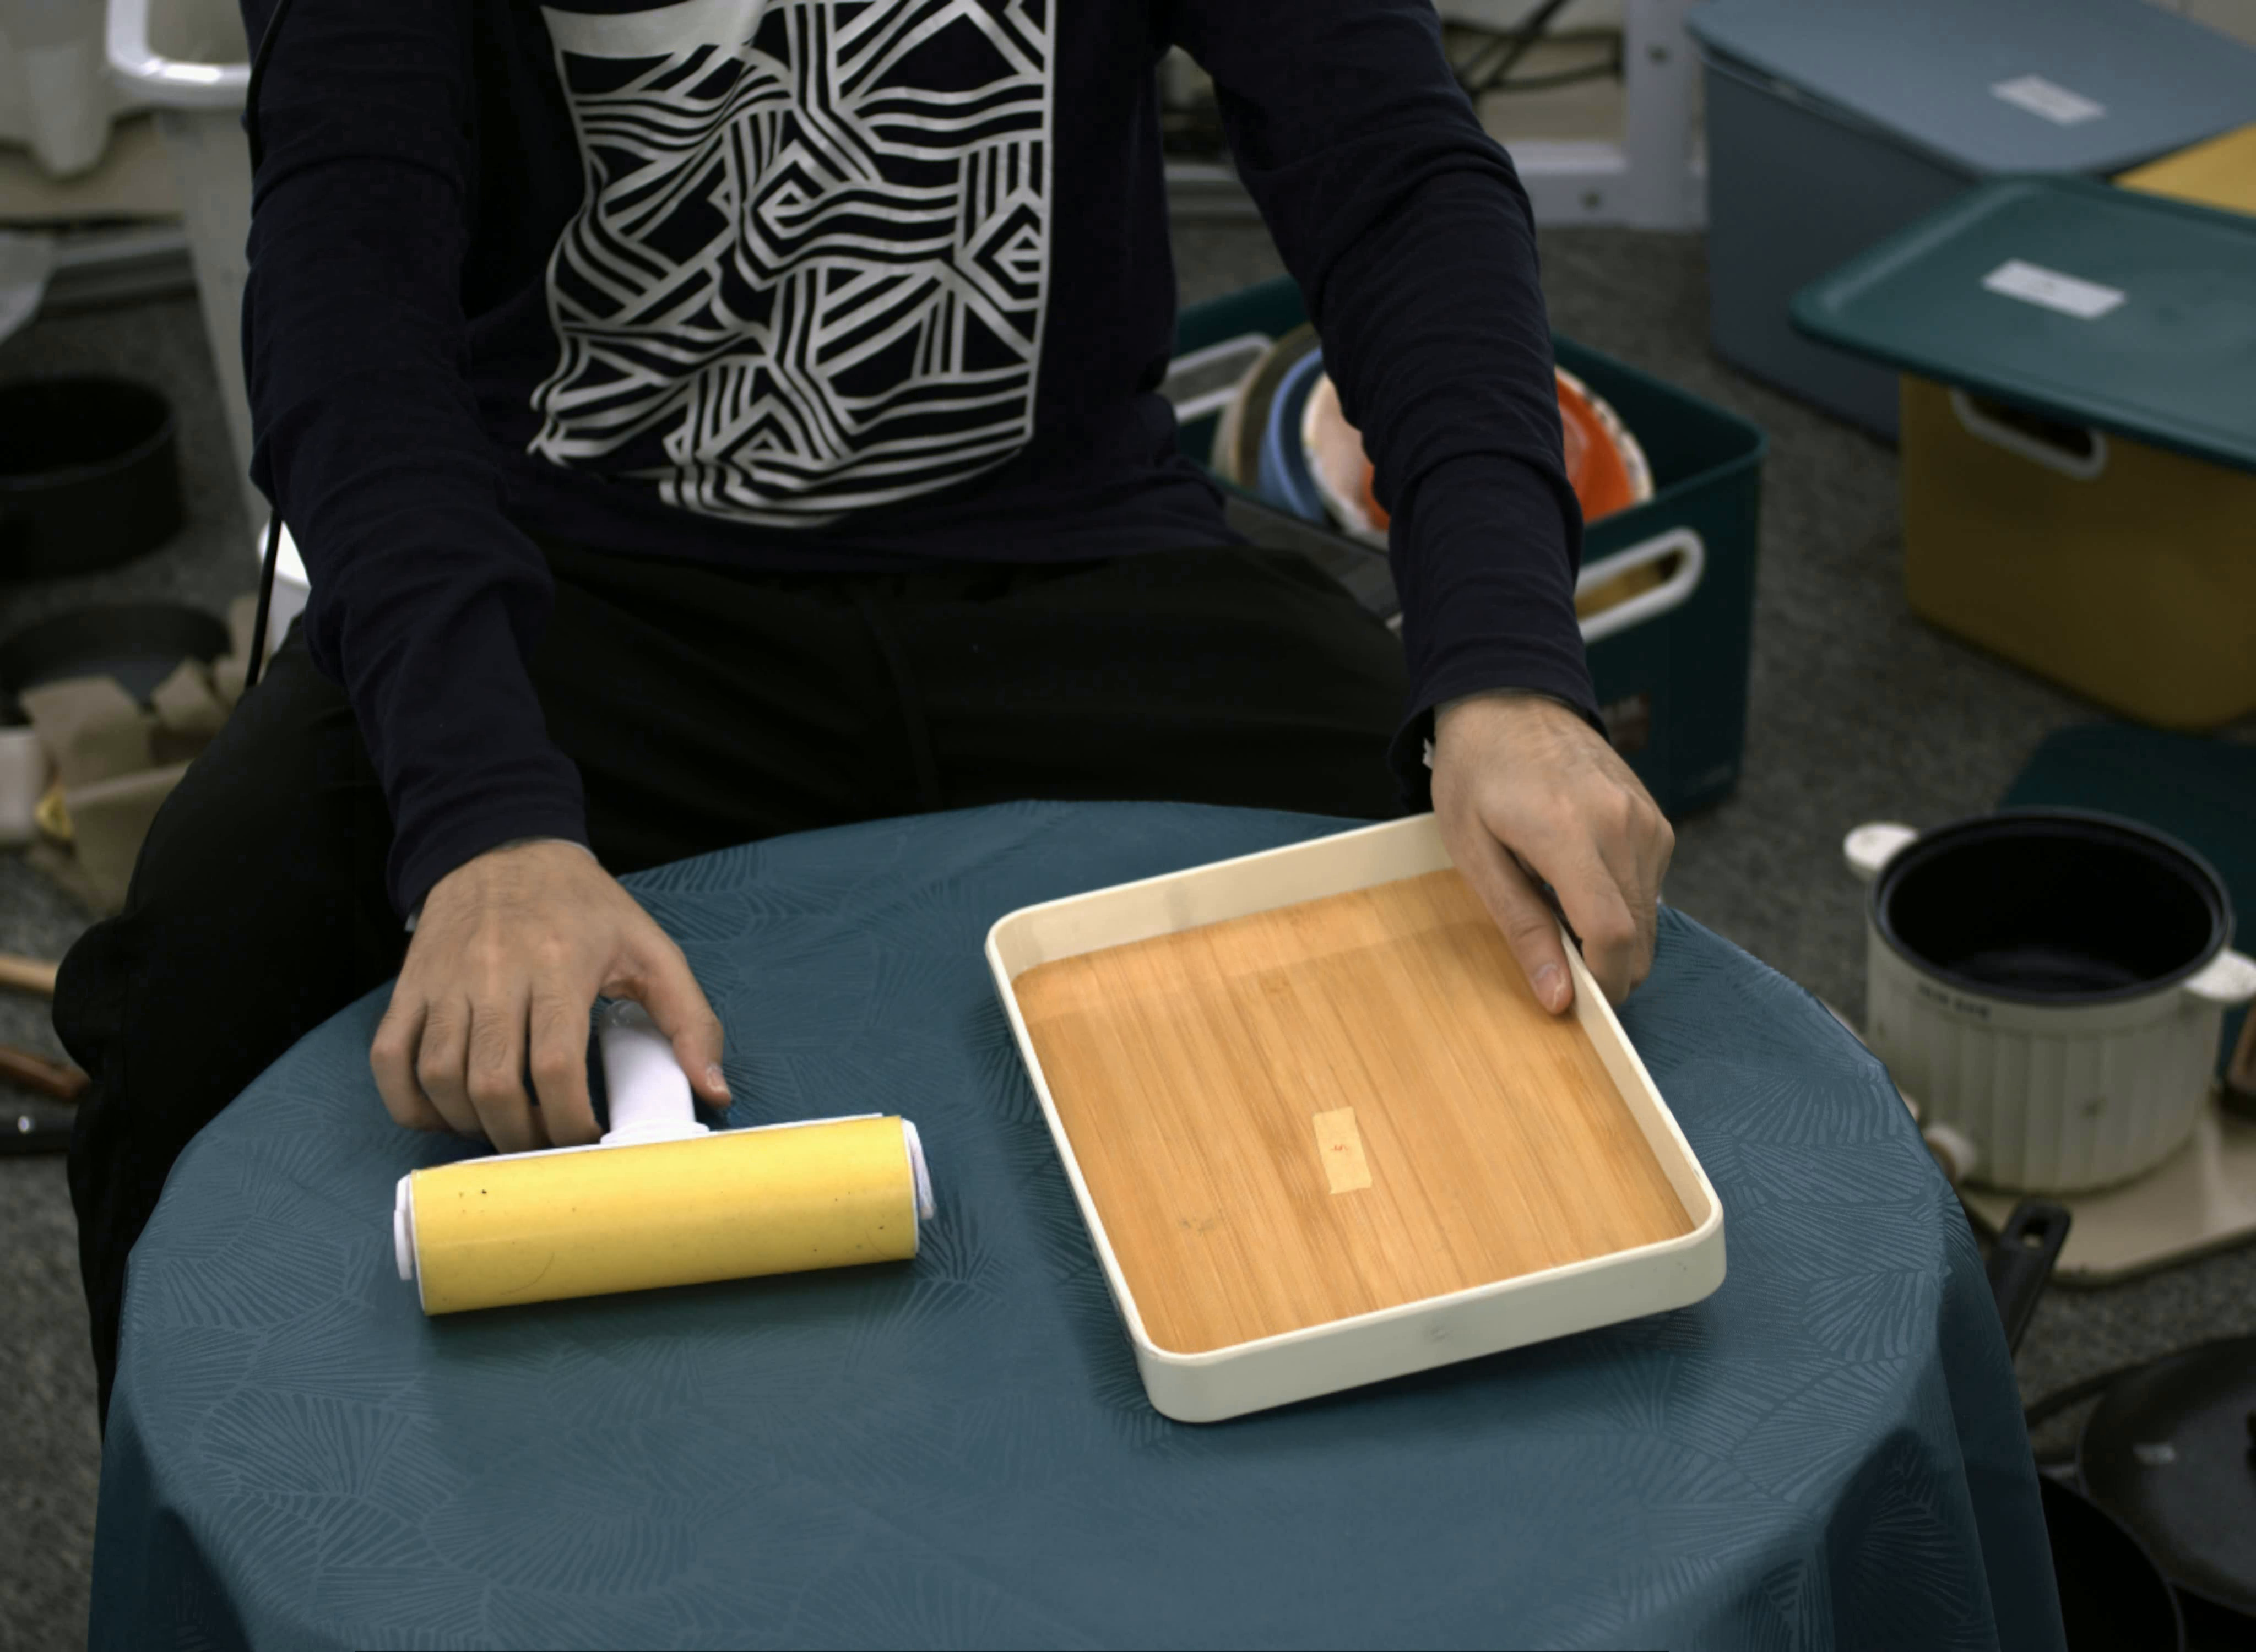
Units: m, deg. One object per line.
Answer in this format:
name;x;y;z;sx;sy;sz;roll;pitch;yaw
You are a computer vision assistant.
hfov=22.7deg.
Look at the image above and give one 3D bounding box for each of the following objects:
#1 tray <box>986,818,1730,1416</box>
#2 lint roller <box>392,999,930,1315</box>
tray;0.070;0.091;1.867;0.191;0.027;0.304;-12;28;-7
lint roller;-0.163;0.094;1.878;0.174;0.051;0.194;-6;30;-8
